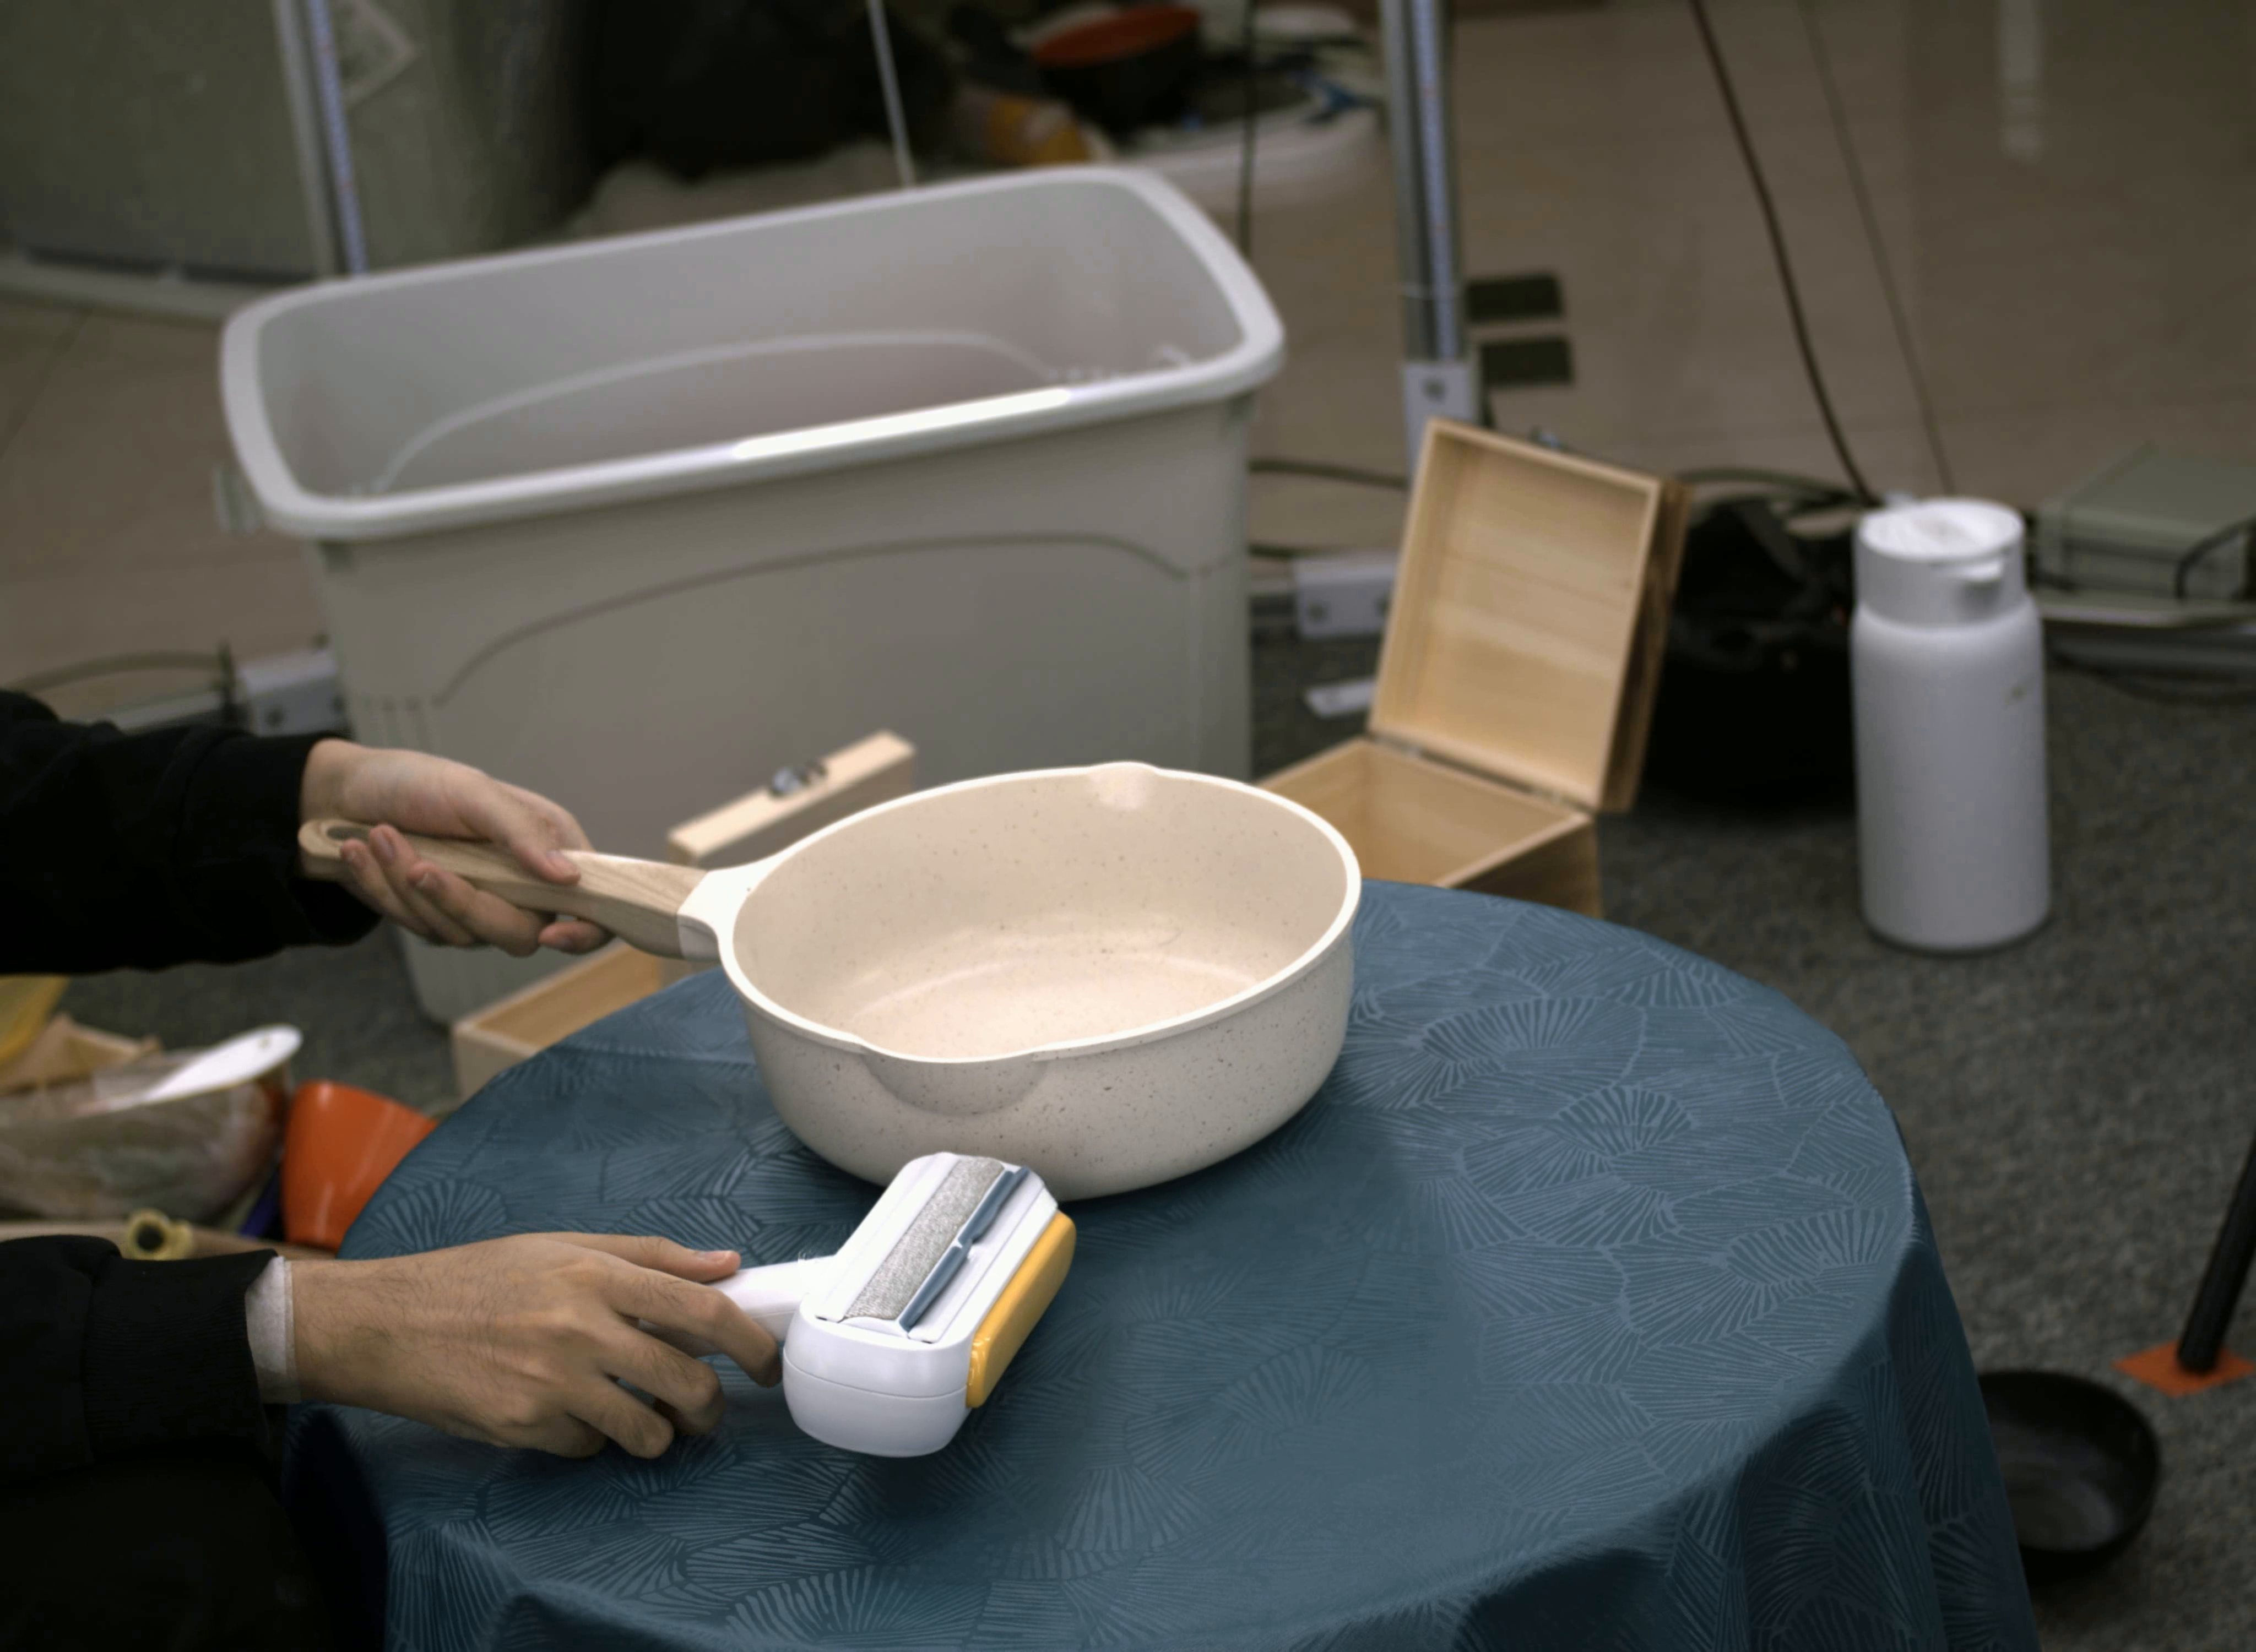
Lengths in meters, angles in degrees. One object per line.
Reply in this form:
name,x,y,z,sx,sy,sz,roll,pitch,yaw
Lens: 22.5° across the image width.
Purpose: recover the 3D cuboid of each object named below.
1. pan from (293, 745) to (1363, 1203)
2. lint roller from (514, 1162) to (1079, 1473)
pan,-0.119,0.054,2.234,0.434,0.104,0.259,2,29,16
lint roller,-0.128,0.172,2.014,0.192,0.075,0.190,4,22,16
